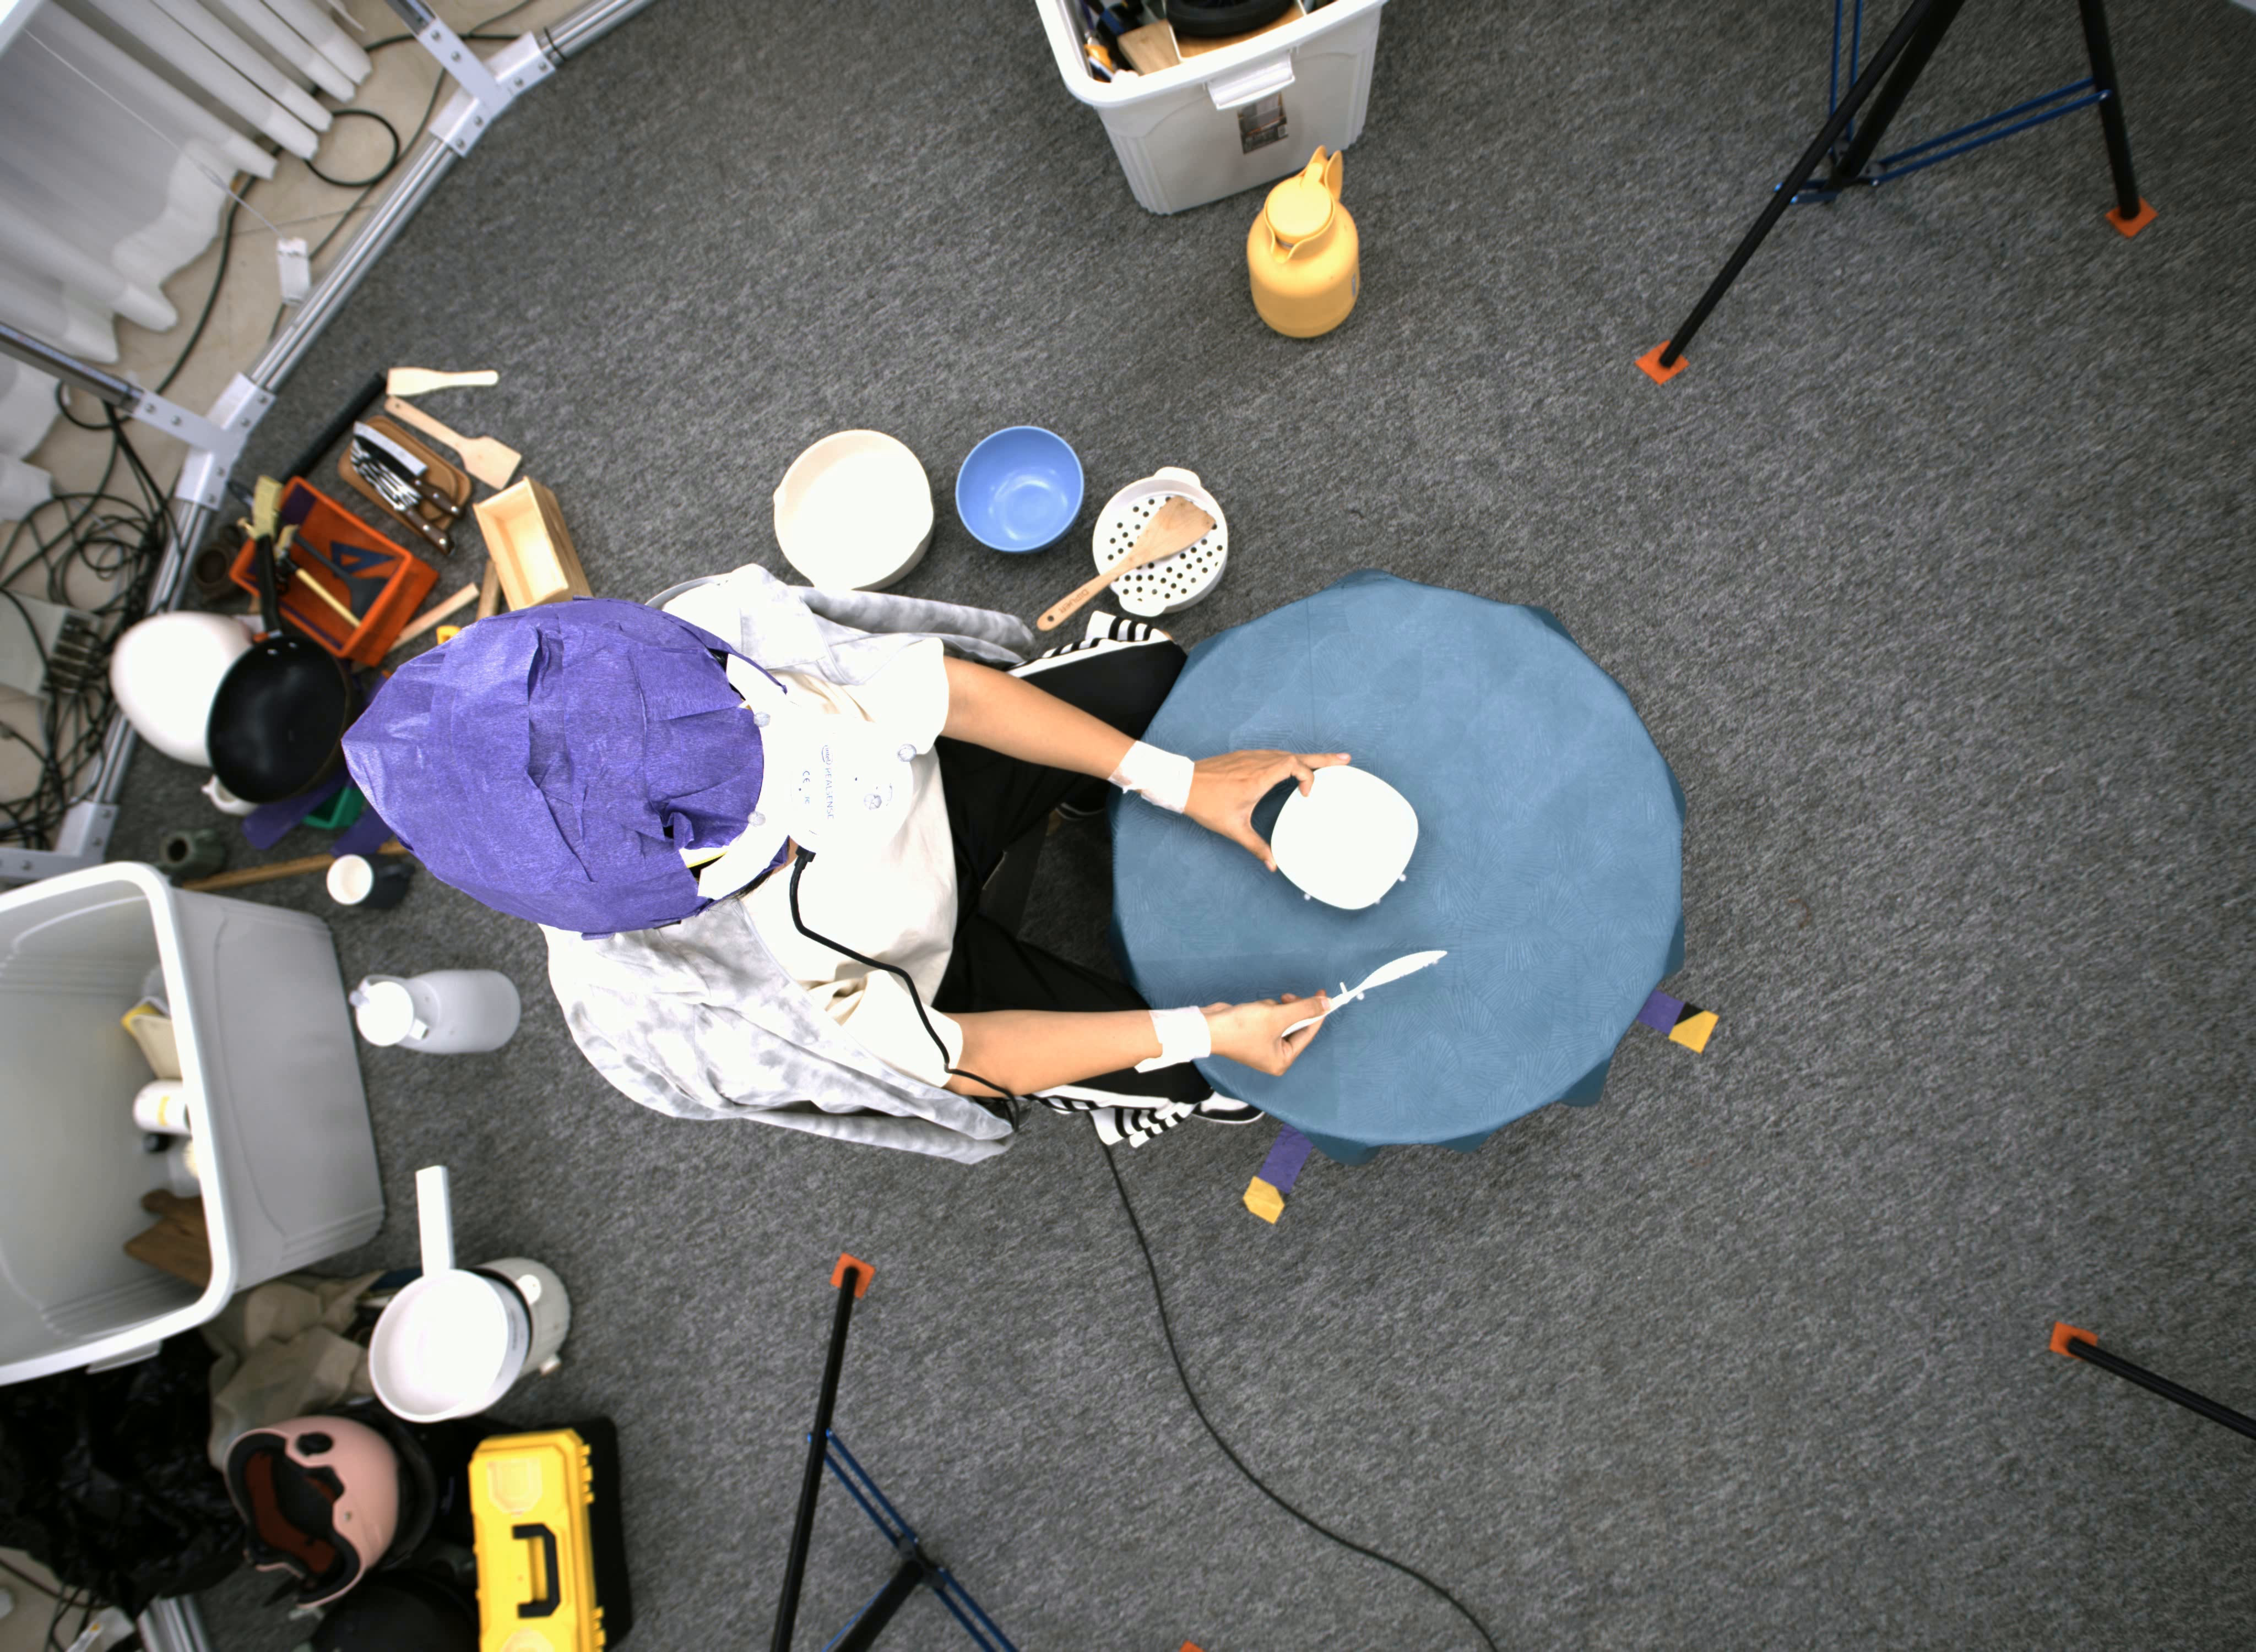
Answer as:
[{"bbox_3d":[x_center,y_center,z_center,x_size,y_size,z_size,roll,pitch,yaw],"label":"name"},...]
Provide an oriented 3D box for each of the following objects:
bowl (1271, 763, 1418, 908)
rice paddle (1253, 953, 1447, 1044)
[{"bbox_3d":[0.225,0.010,1.441,0.152,0.058,0.151,0,88,8],"label":"bowl"},{"bbox_3d":[0.225,0.167,1.389,0.206,0.069,0.029,-22,81,7],"label":"rice paddle"}]
